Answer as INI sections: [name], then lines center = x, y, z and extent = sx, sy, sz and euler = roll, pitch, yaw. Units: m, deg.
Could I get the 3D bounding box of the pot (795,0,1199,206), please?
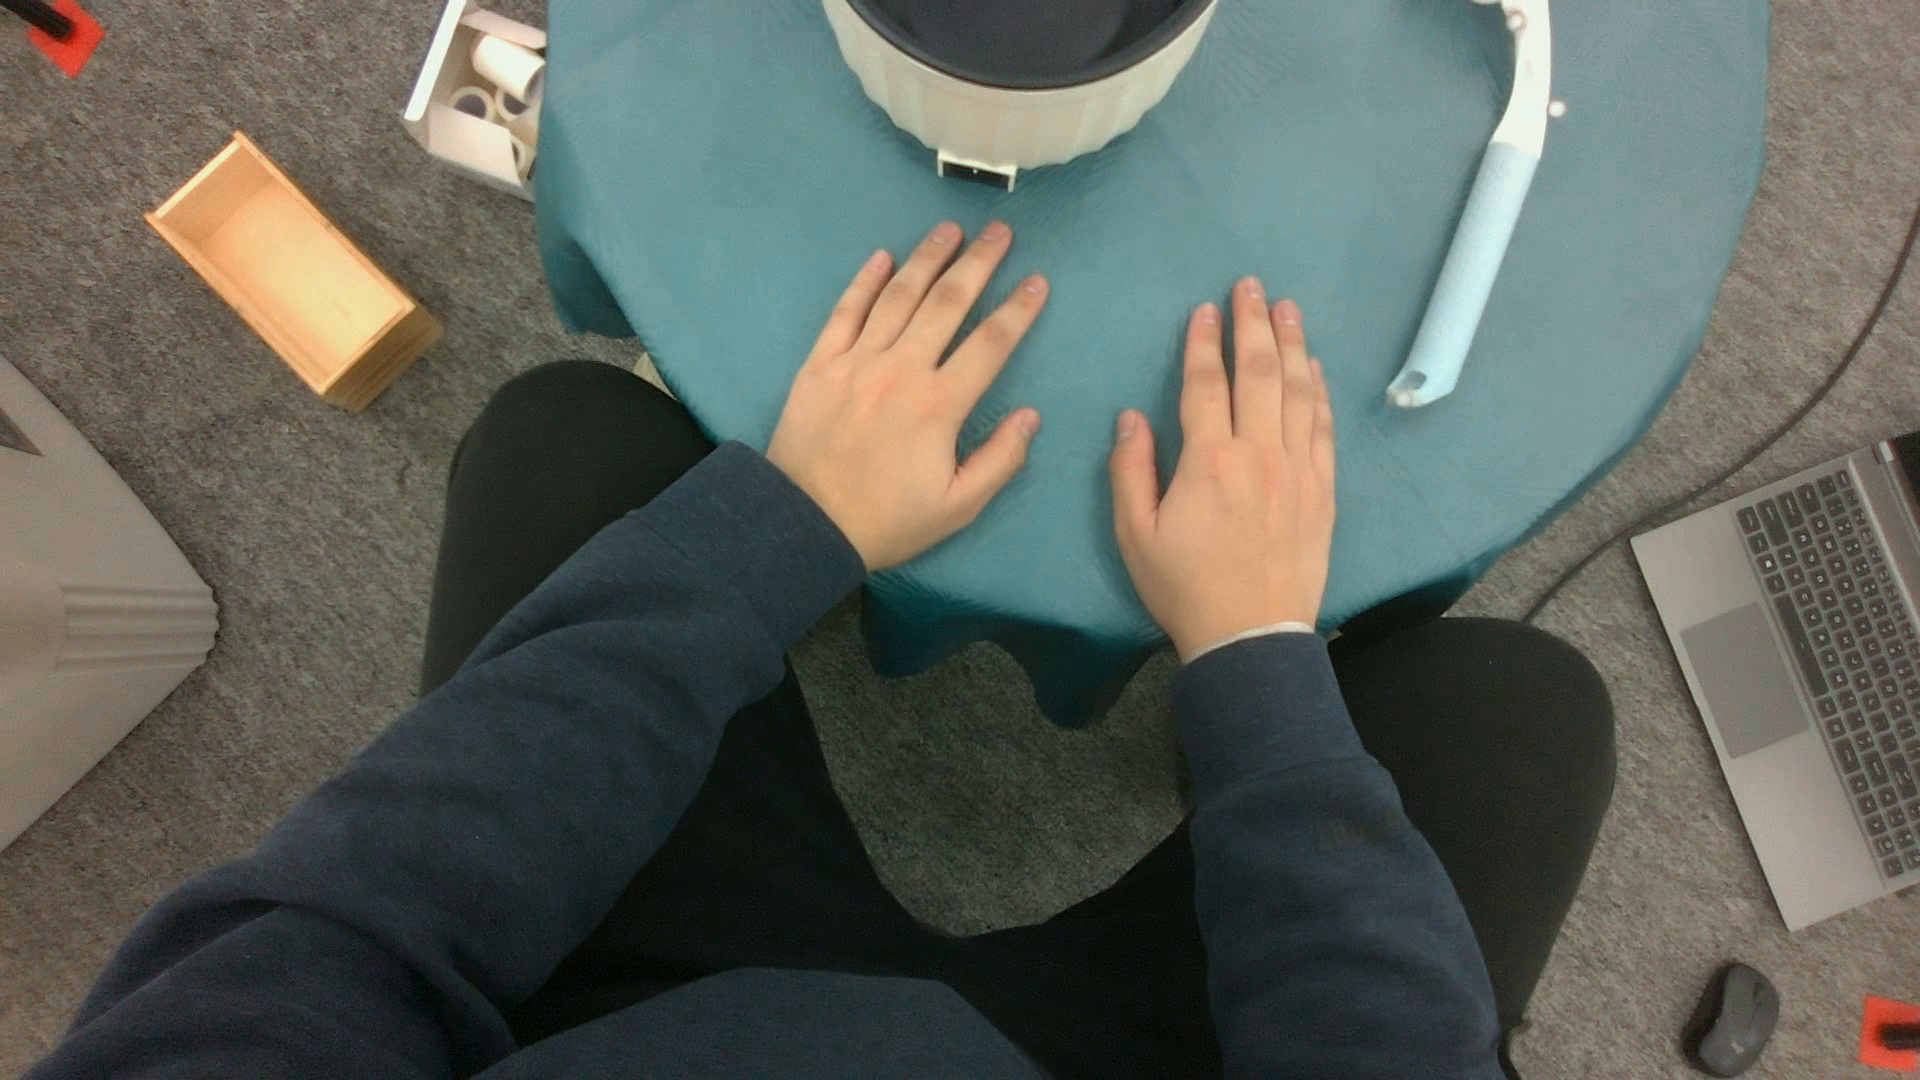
[pot]
center = 0.015, -0.261, 0.621
extent = 0.240, 0.142, 0.190
euler = 9, 89, -1

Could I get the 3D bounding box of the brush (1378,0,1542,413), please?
[brush]
center = 0.240, -0.221, 0.648
extent = 0.084, 0.083, 0.325
euler = 19, 85, -2
